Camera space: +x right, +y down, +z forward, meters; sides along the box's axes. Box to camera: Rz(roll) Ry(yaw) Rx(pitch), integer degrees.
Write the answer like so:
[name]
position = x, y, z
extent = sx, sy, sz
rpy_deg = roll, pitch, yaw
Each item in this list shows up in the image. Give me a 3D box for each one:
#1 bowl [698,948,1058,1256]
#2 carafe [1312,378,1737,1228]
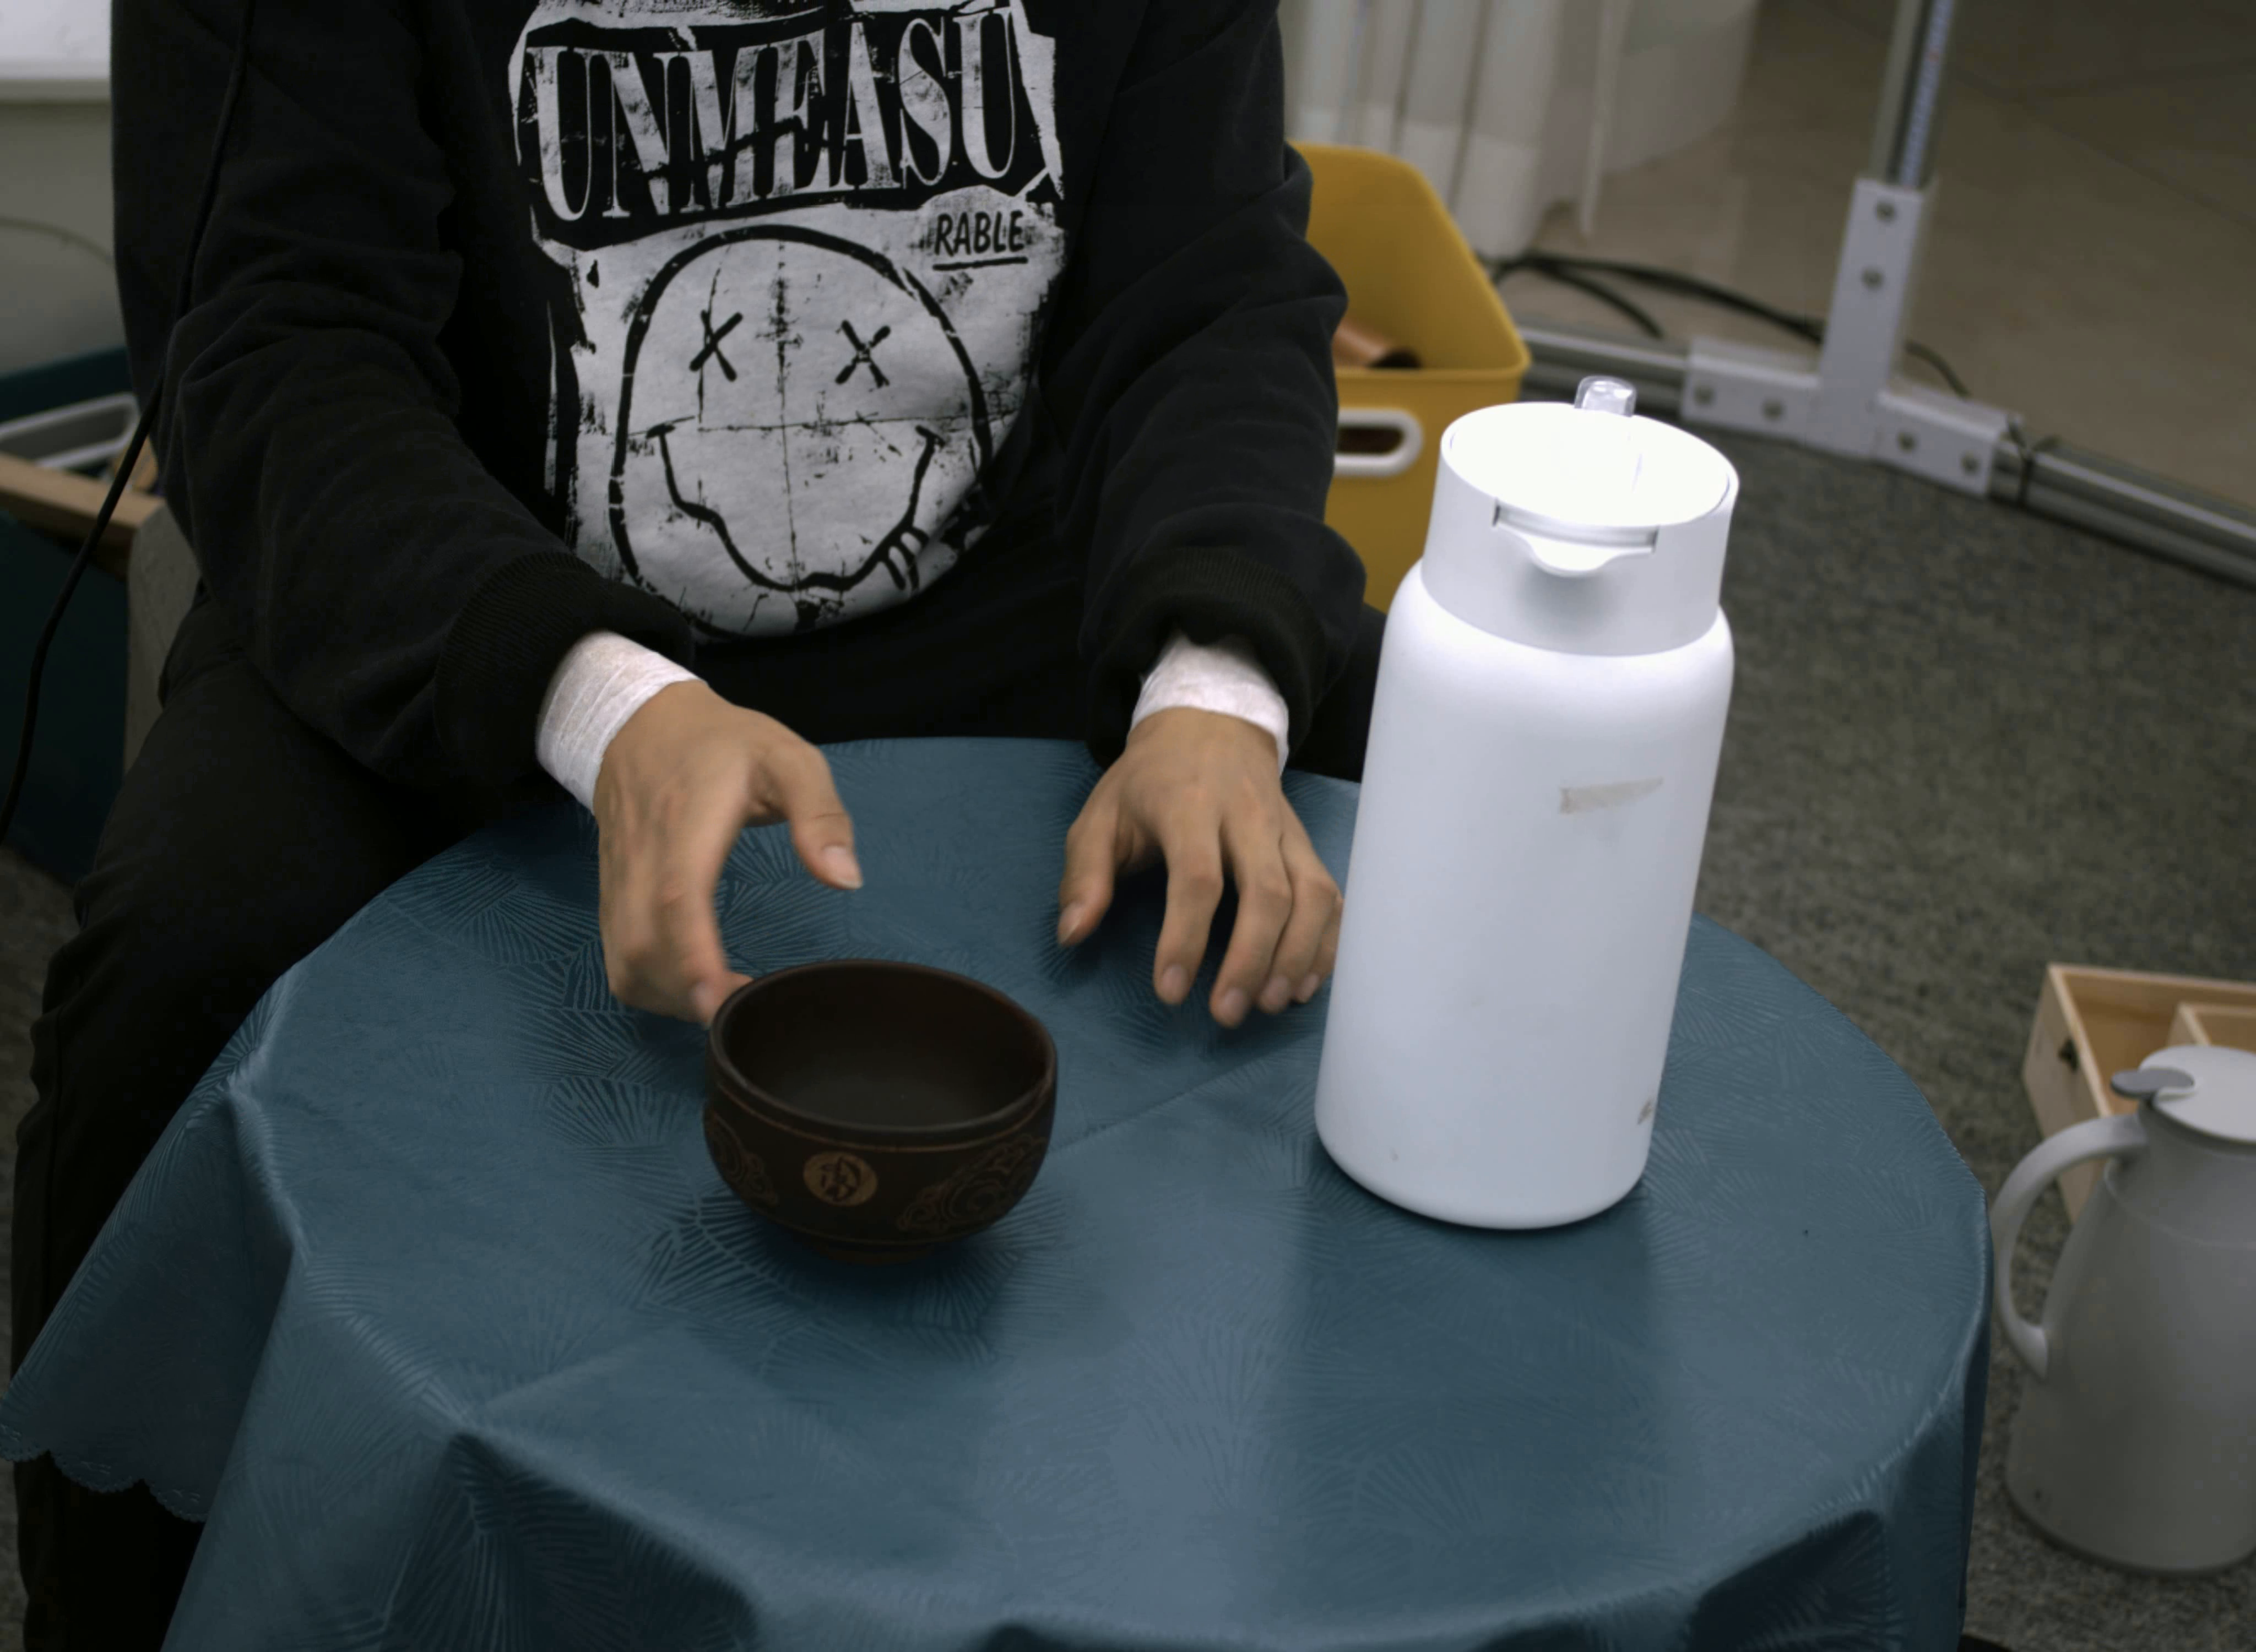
[bowl]
position = -0.084, 0.098, 1.755
extent = 0.117, 0.069, 0.119
rpy_deg = 5, 28, -3
[carafe]
position = 0.136, -0.012, 1.808
extent = 0.123, 0.268, 0.173
rpy_deg = 8, 27, 6
